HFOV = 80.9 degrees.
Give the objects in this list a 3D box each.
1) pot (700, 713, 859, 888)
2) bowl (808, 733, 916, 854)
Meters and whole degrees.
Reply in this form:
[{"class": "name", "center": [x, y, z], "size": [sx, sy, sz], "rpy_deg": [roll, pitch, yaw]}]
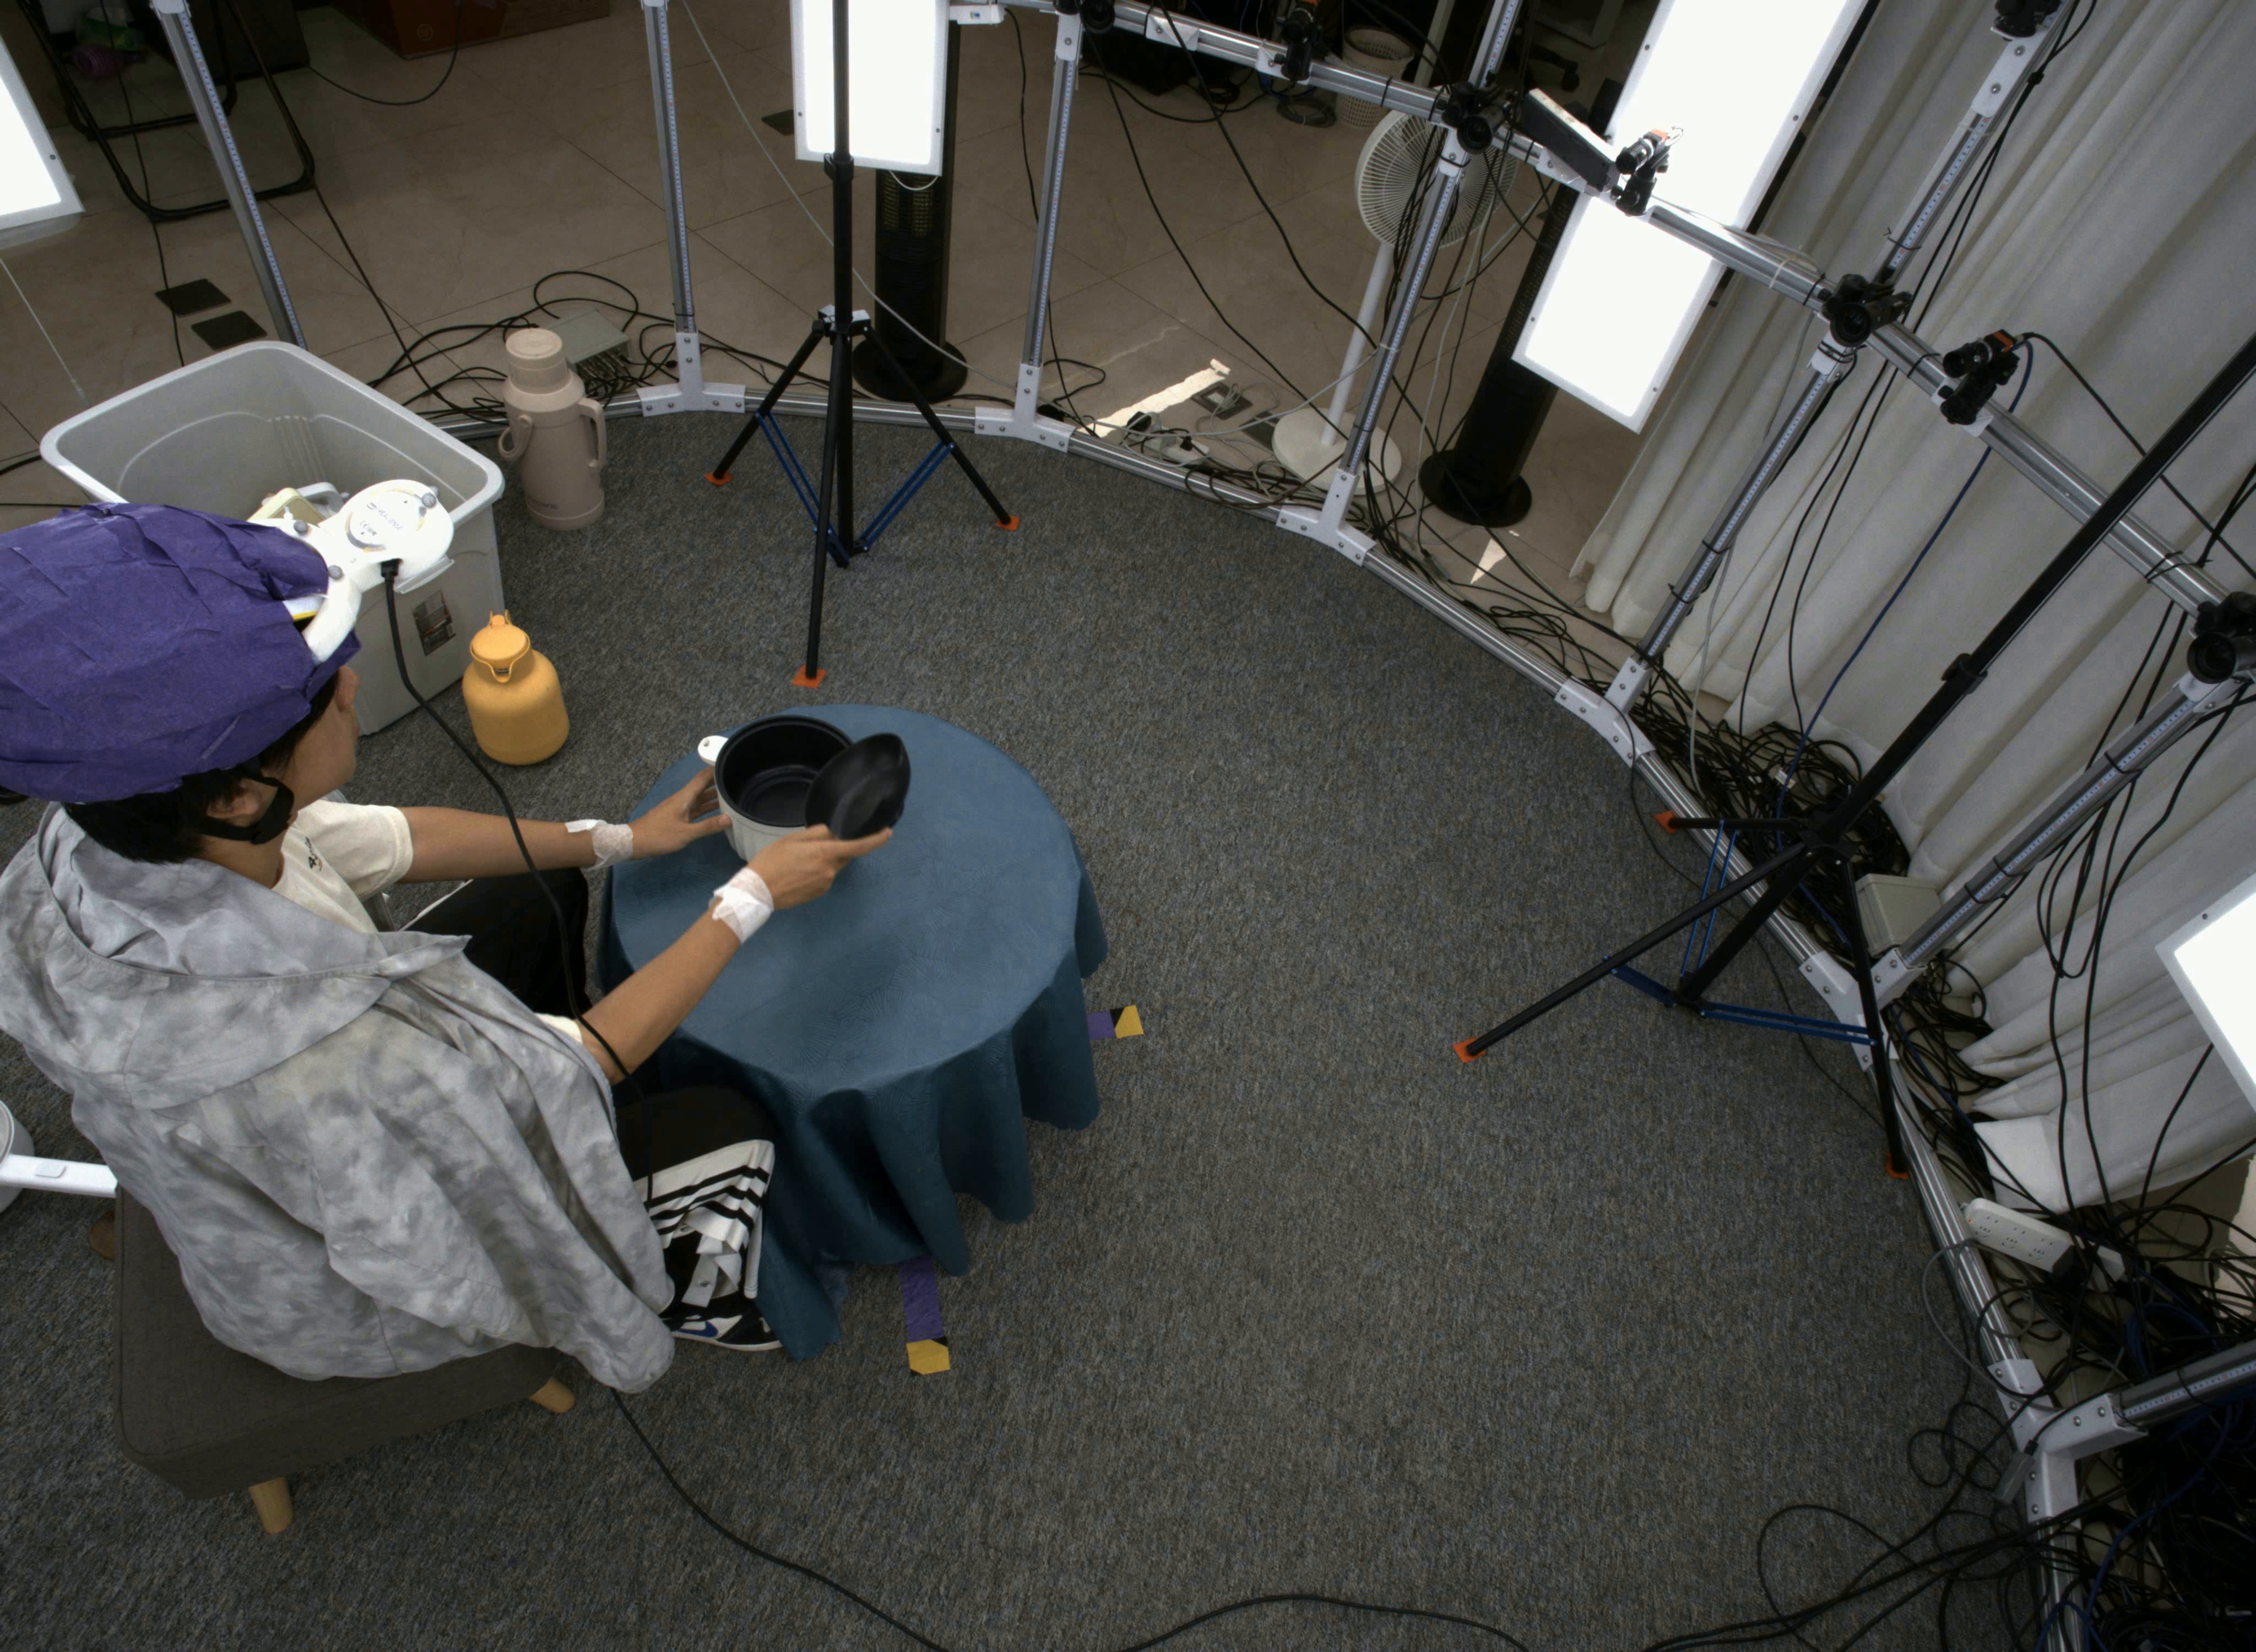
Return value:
[{"class": "pot", "center": [-0.426, -0.036, 1.663], "size": [0.238, 0.145, 0.188], "rpy_deg": [17, 55, -1]}, {"class": "bowl", "center": [-0.299, -0.030, 1.514], "size": [0.134, 0.069, 0.168], "rpy_deg": [-12, 46, 26]}]
